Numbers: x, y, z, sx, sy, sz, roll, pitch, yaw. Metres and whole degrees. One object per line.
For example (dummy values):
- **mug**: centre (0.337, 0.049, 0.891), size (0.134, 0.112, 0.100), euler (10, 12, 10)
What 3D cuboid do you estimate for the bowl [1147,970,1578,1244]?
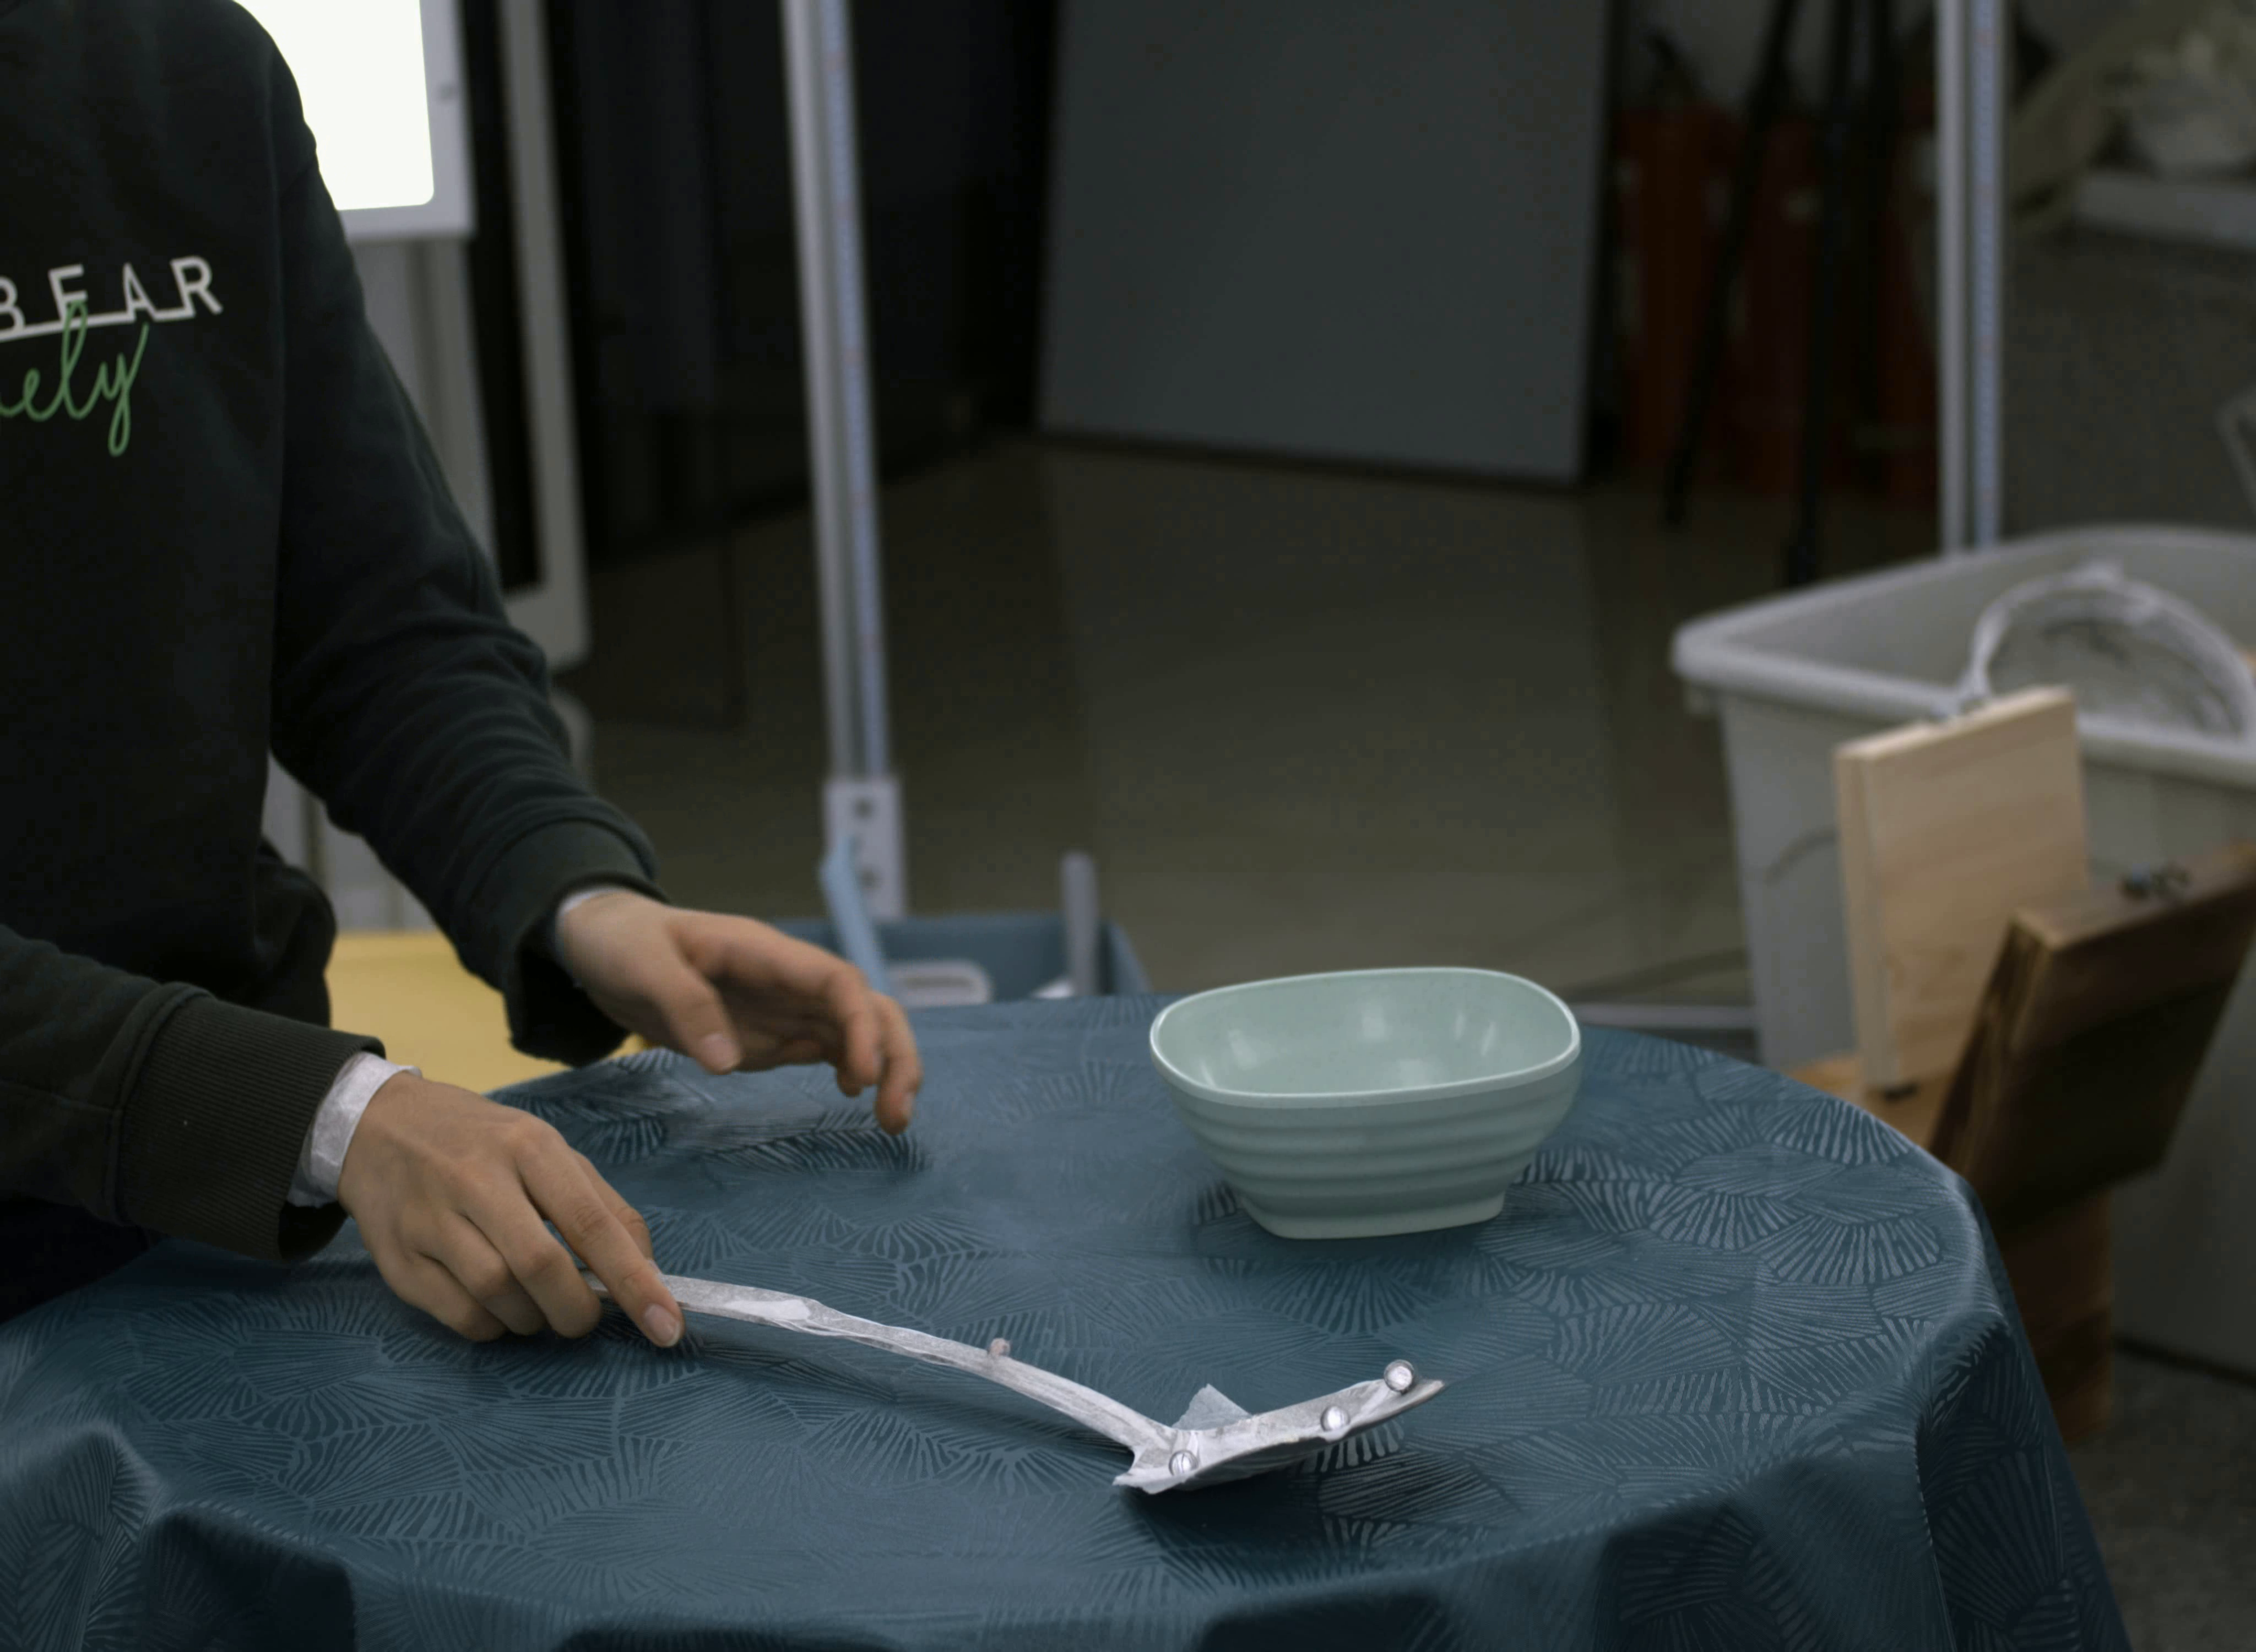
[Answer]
- **bowl**: centre (0.076, 0.094, 1.743), size (0.149, 0.059, 0.152), euler (-2, 15, -1)

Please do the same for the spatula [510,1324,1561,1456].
- **spatula**: centre (-0.045, 0.155, 1.565), size (0.367, 0.045, 0.097), euler (1, -2, 35)
